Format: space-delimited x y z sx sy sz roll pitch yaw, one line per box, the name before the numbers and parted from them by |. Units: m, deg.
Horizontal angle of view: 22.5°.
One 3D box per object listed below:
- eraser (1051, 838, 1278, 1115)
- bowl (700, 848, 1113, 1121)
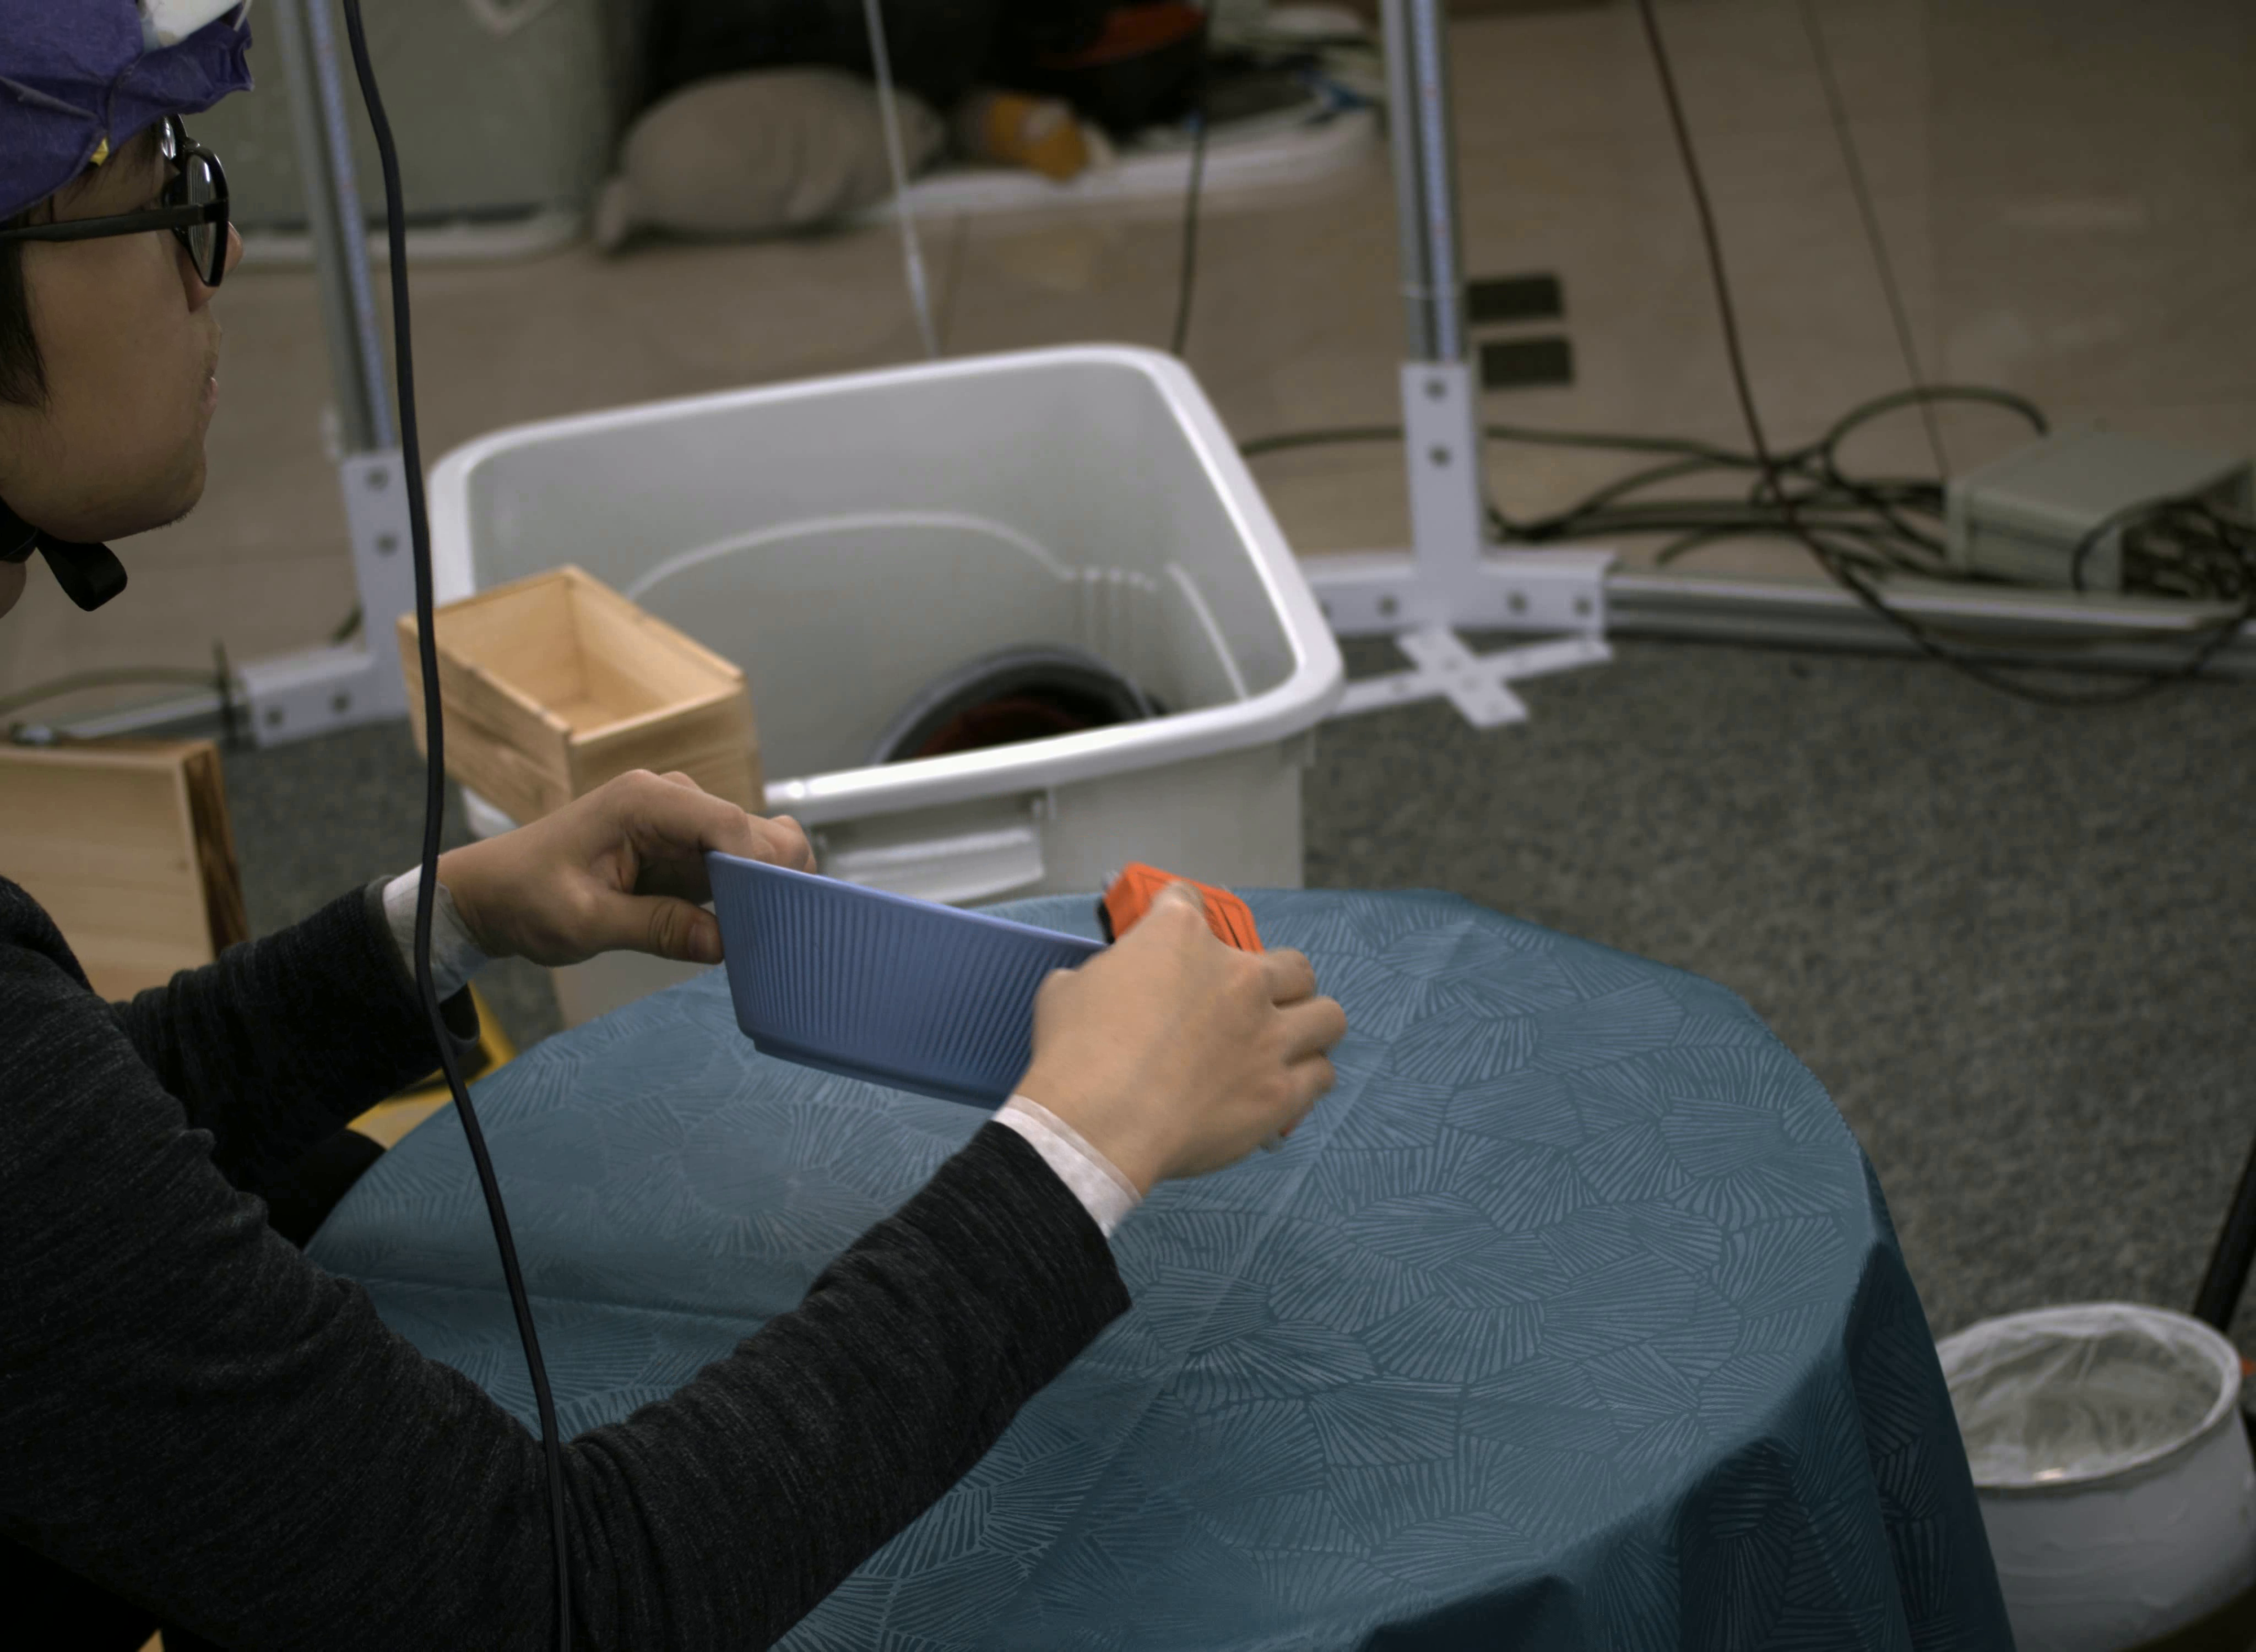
eraser | 0.012 0.053 1.992 0.059 0.023 0.106 16 37 -35
bowl | -0.078 0.061 2.067 0.176 0.070 0.176 14 0 0
